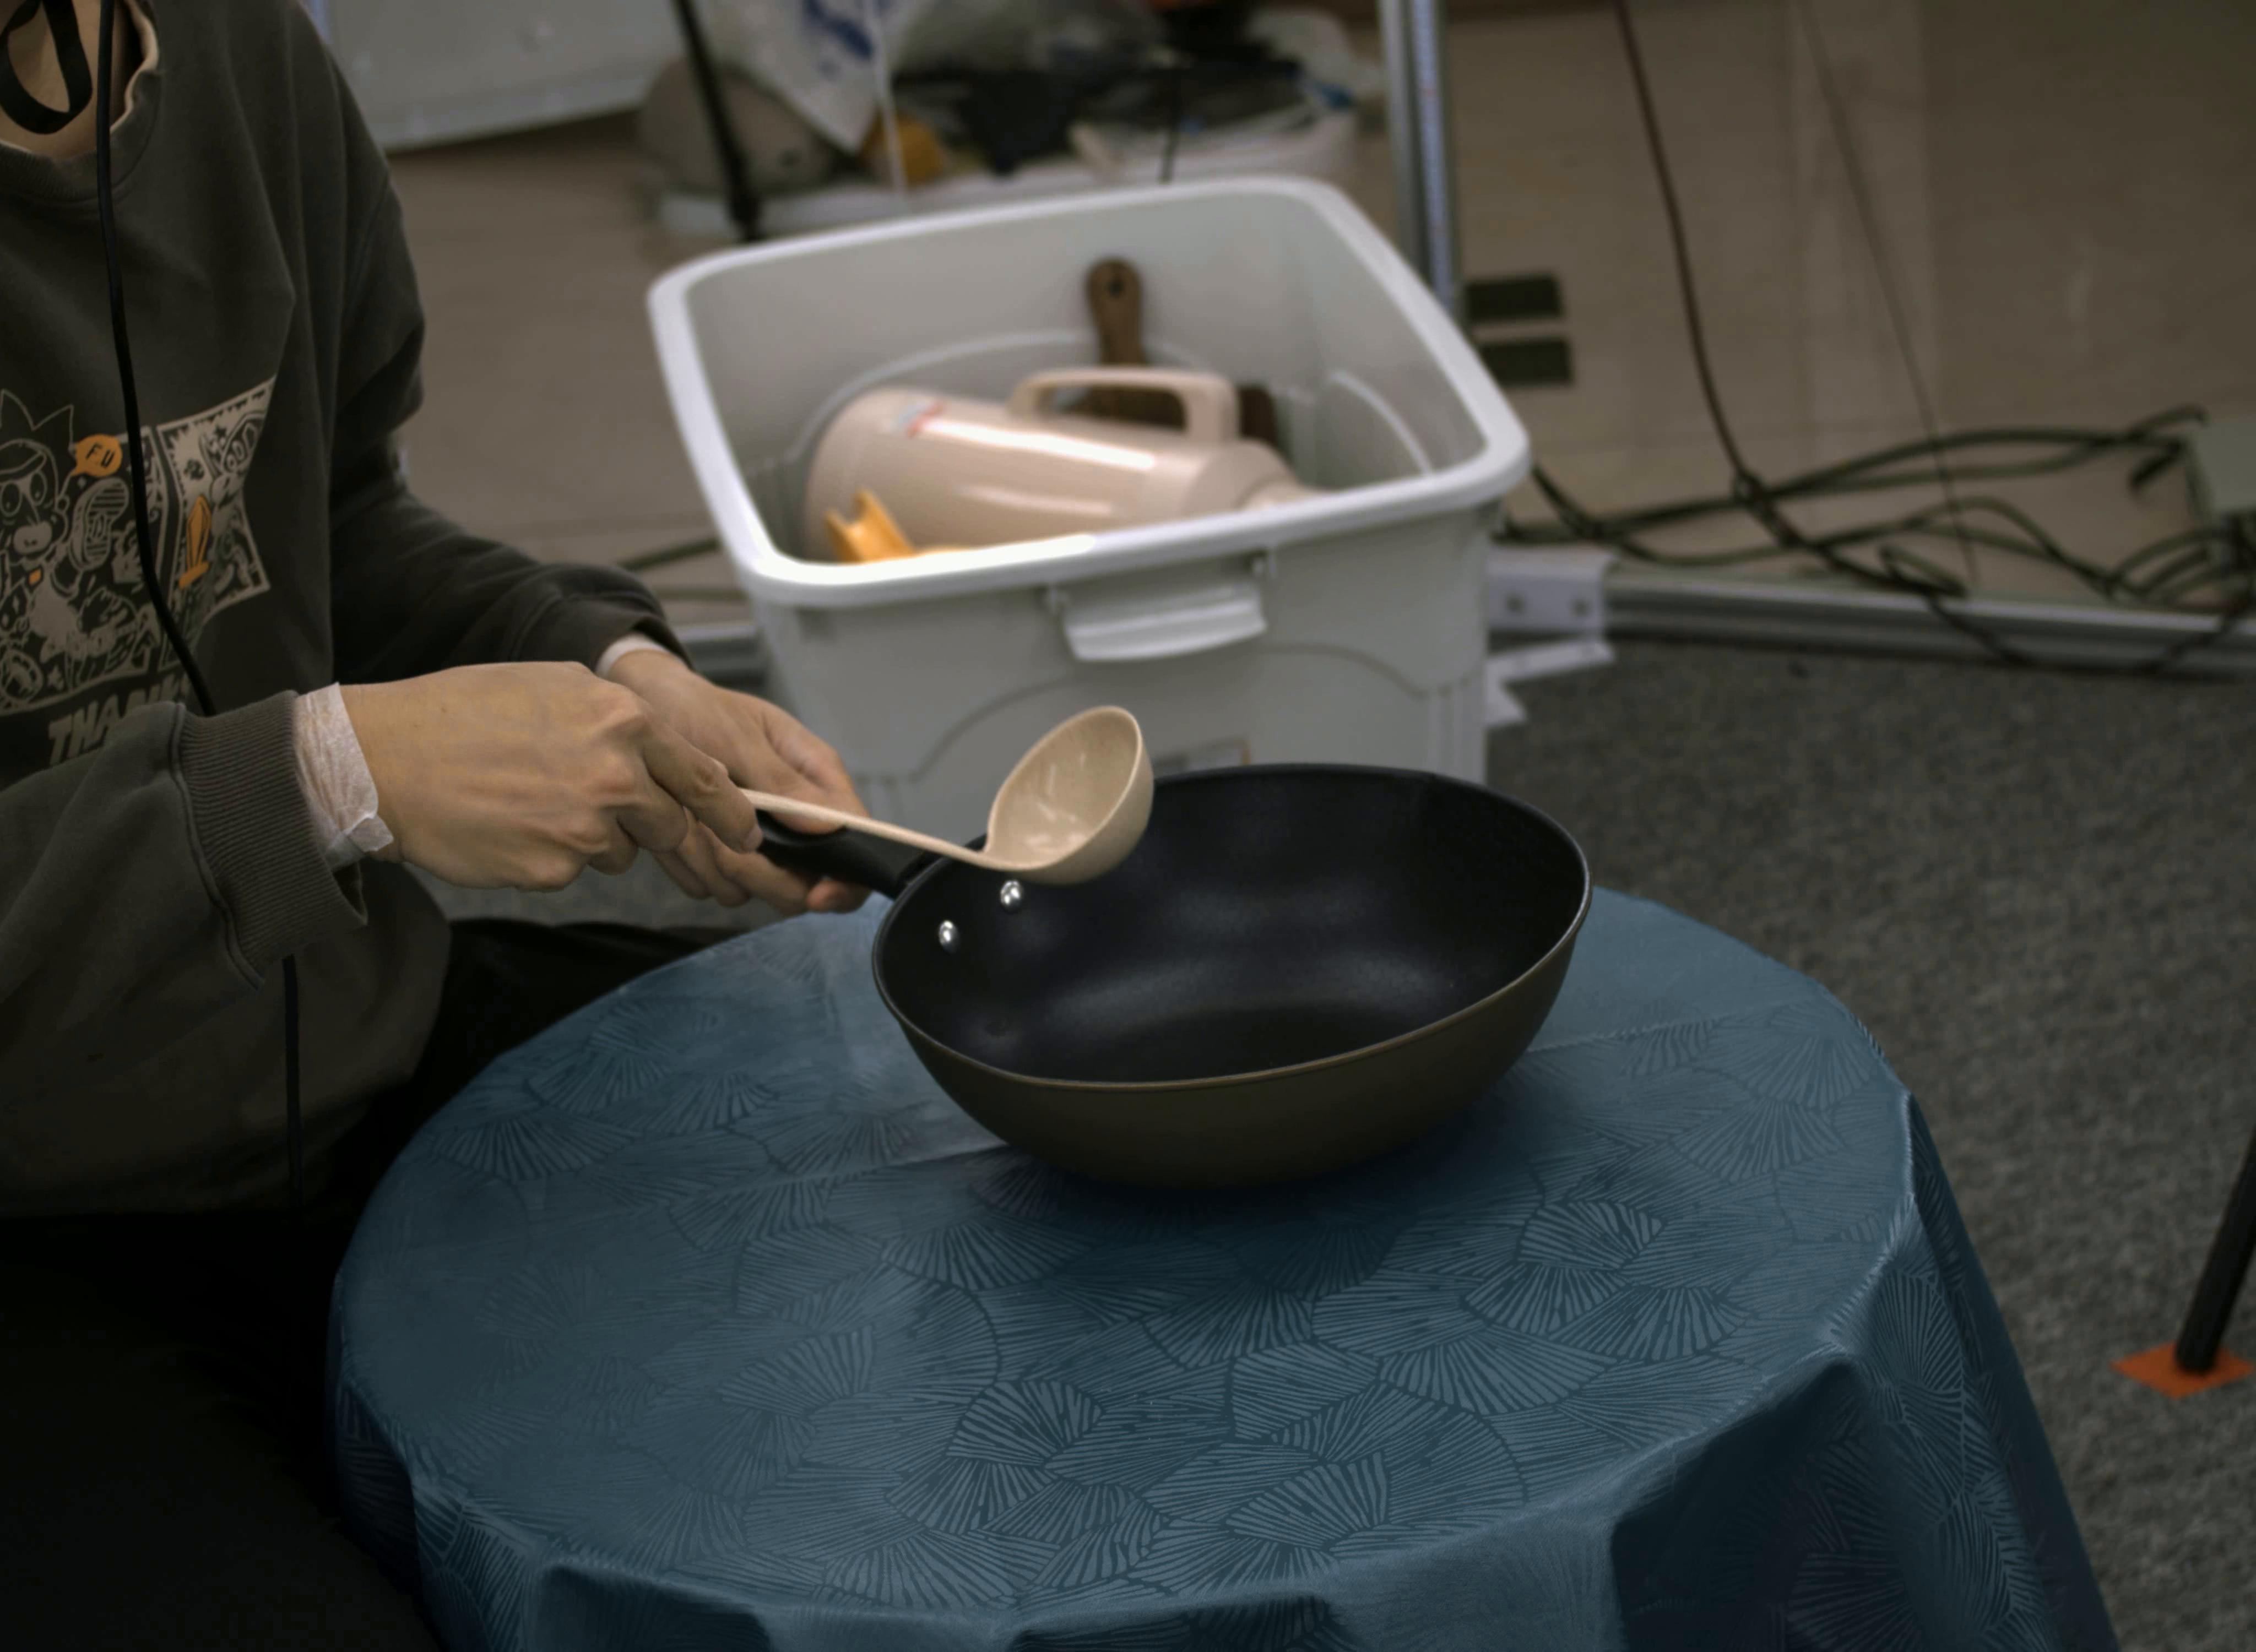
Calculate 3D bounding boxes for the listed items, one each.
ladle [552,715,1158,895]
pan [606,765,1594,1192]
[{"bbox_3d":[-0.097,-0.027,2.087,0.255,0.073,0.071,13,6,-39],"label":"ladle"},{"bbox_3d":[-0.029,0.055,2.237,0.461,0.088,0.285,10,30,36],"label":"pan"}]
